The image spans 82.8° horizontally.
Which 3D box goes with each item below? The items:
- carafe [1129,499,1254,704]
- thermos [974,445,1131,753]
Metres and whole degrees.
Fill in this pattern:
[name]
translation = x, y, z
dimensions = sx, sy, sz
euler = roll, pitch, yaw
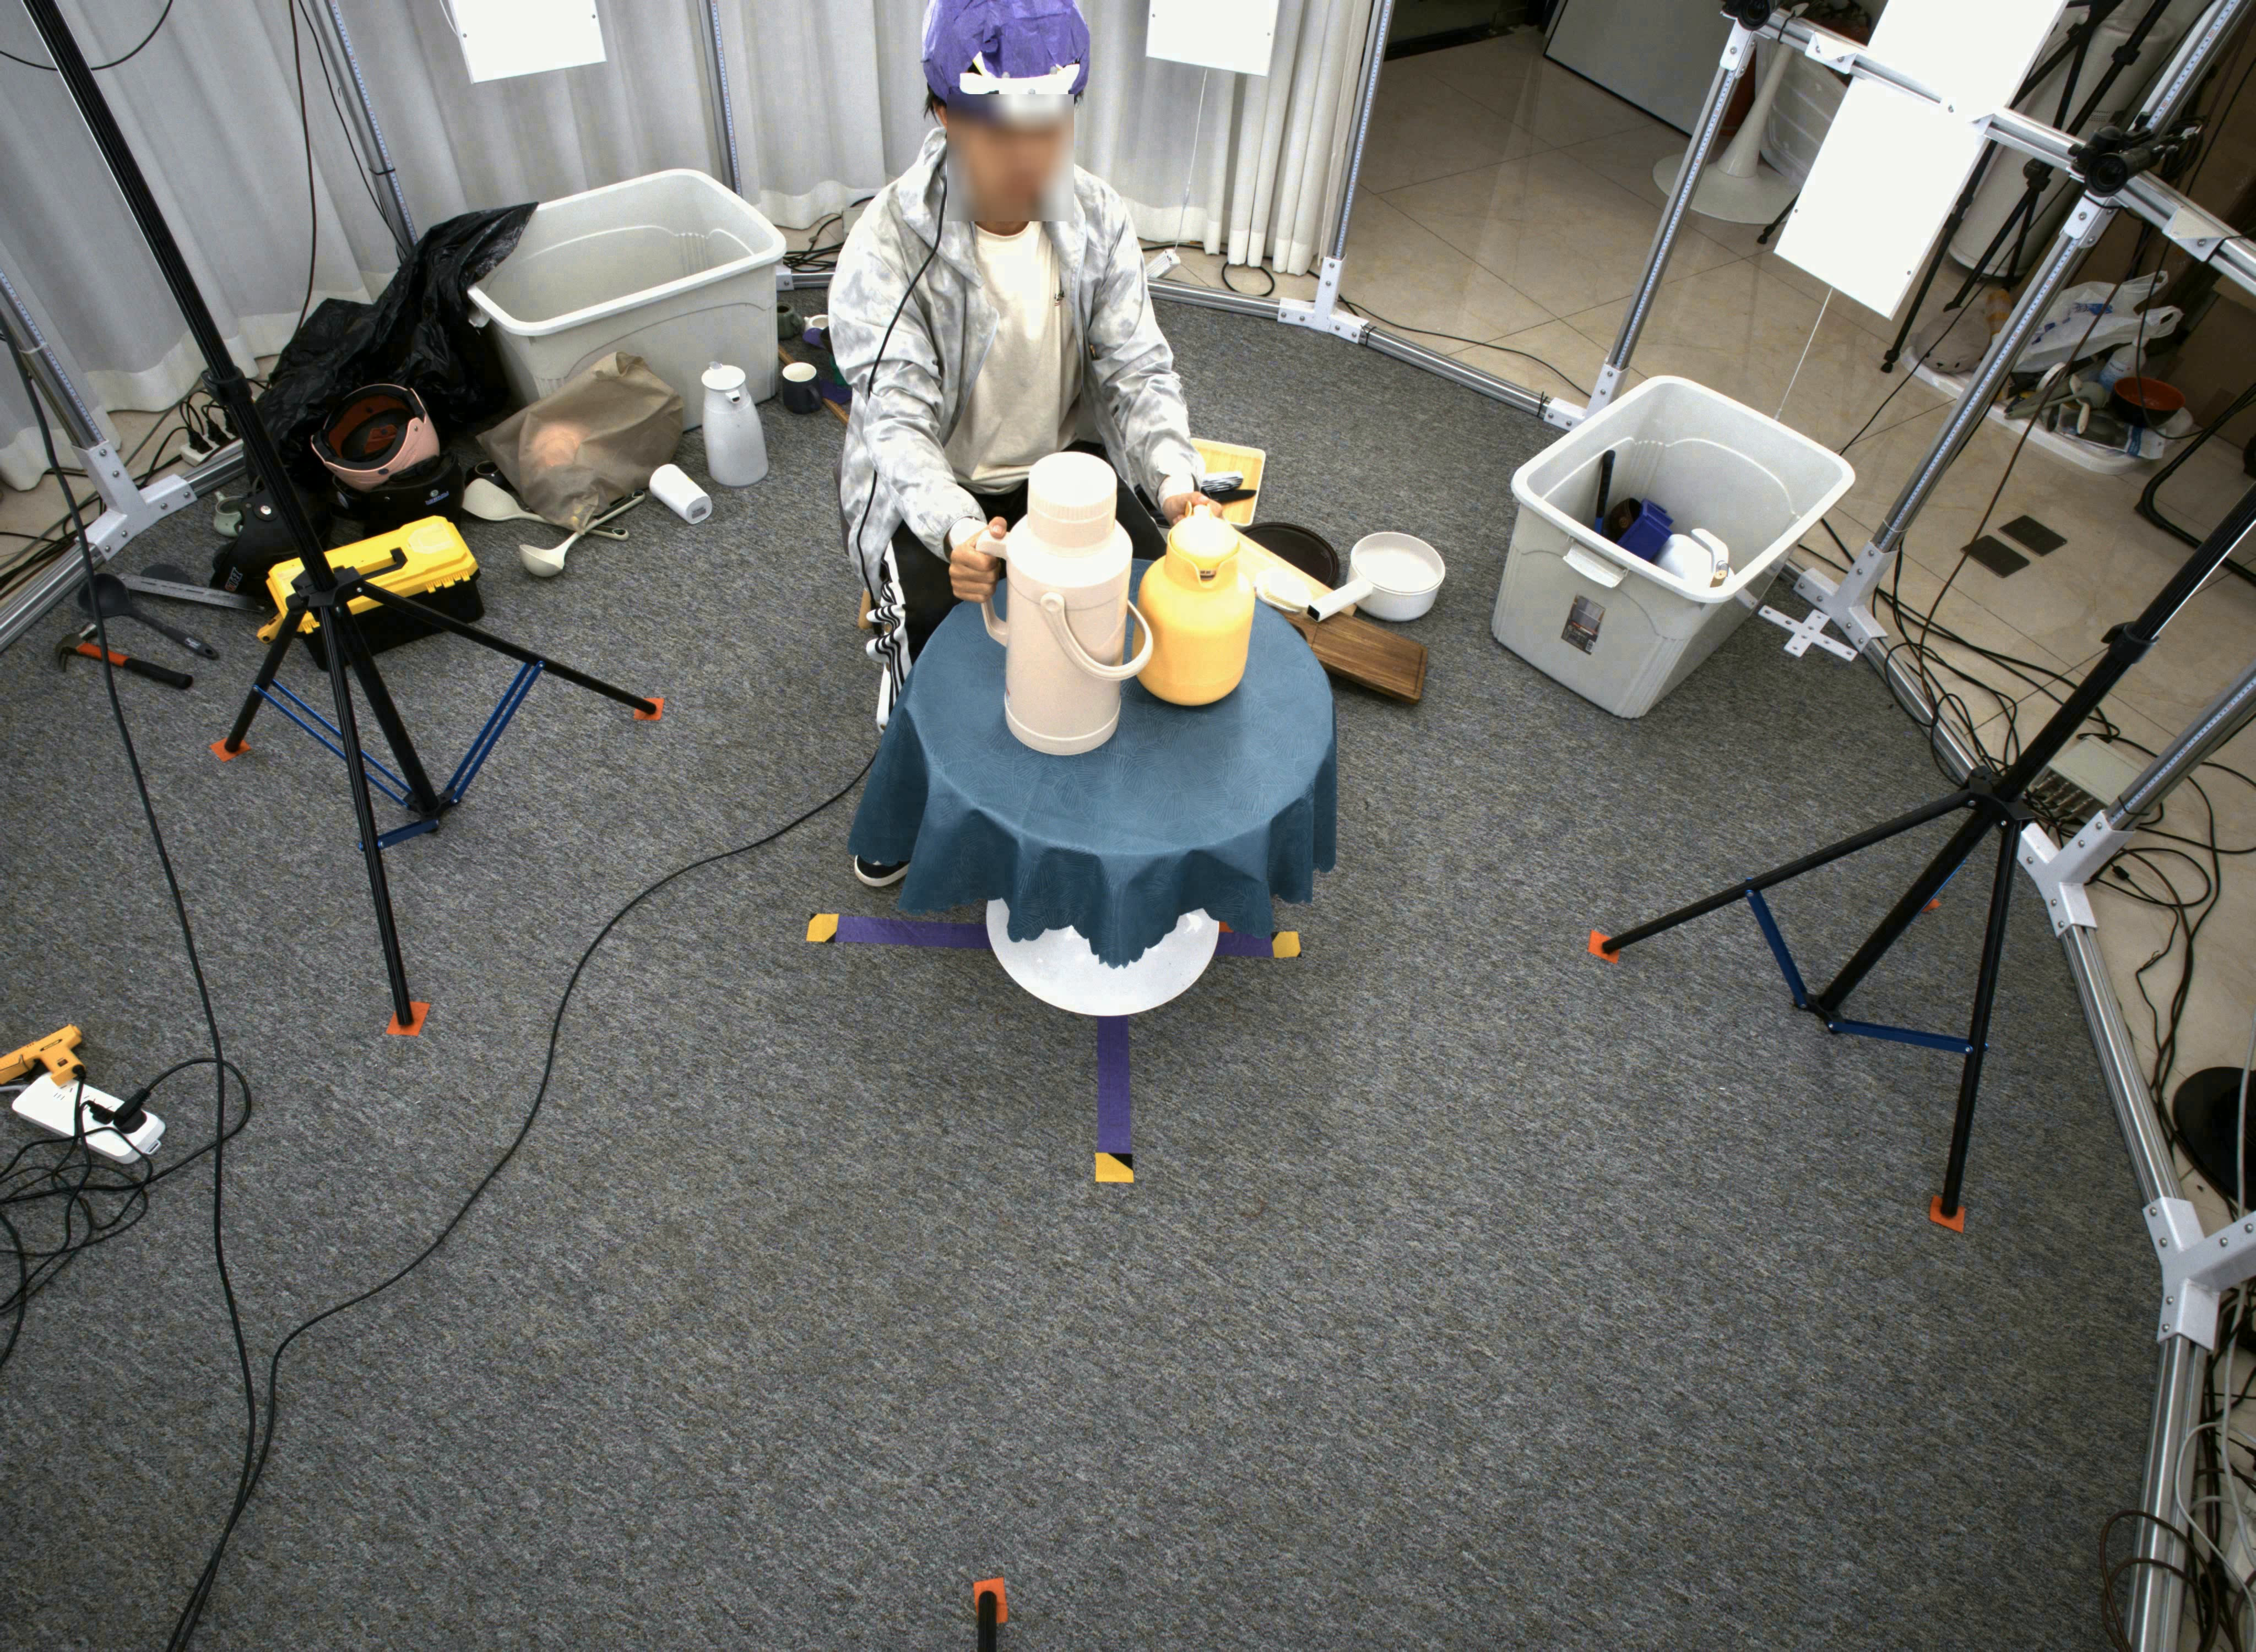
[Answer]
[carafe]
translation = 0.091, -0.317, 1.774
dimensions = 0.163, 0.254, 0.207
euler = 4, 50, -4
[thermos]
translation = -0.094, -0.288, 1.648
dimensions = 0.207, 0.396, 0.179
euler = 12, 50, 5
